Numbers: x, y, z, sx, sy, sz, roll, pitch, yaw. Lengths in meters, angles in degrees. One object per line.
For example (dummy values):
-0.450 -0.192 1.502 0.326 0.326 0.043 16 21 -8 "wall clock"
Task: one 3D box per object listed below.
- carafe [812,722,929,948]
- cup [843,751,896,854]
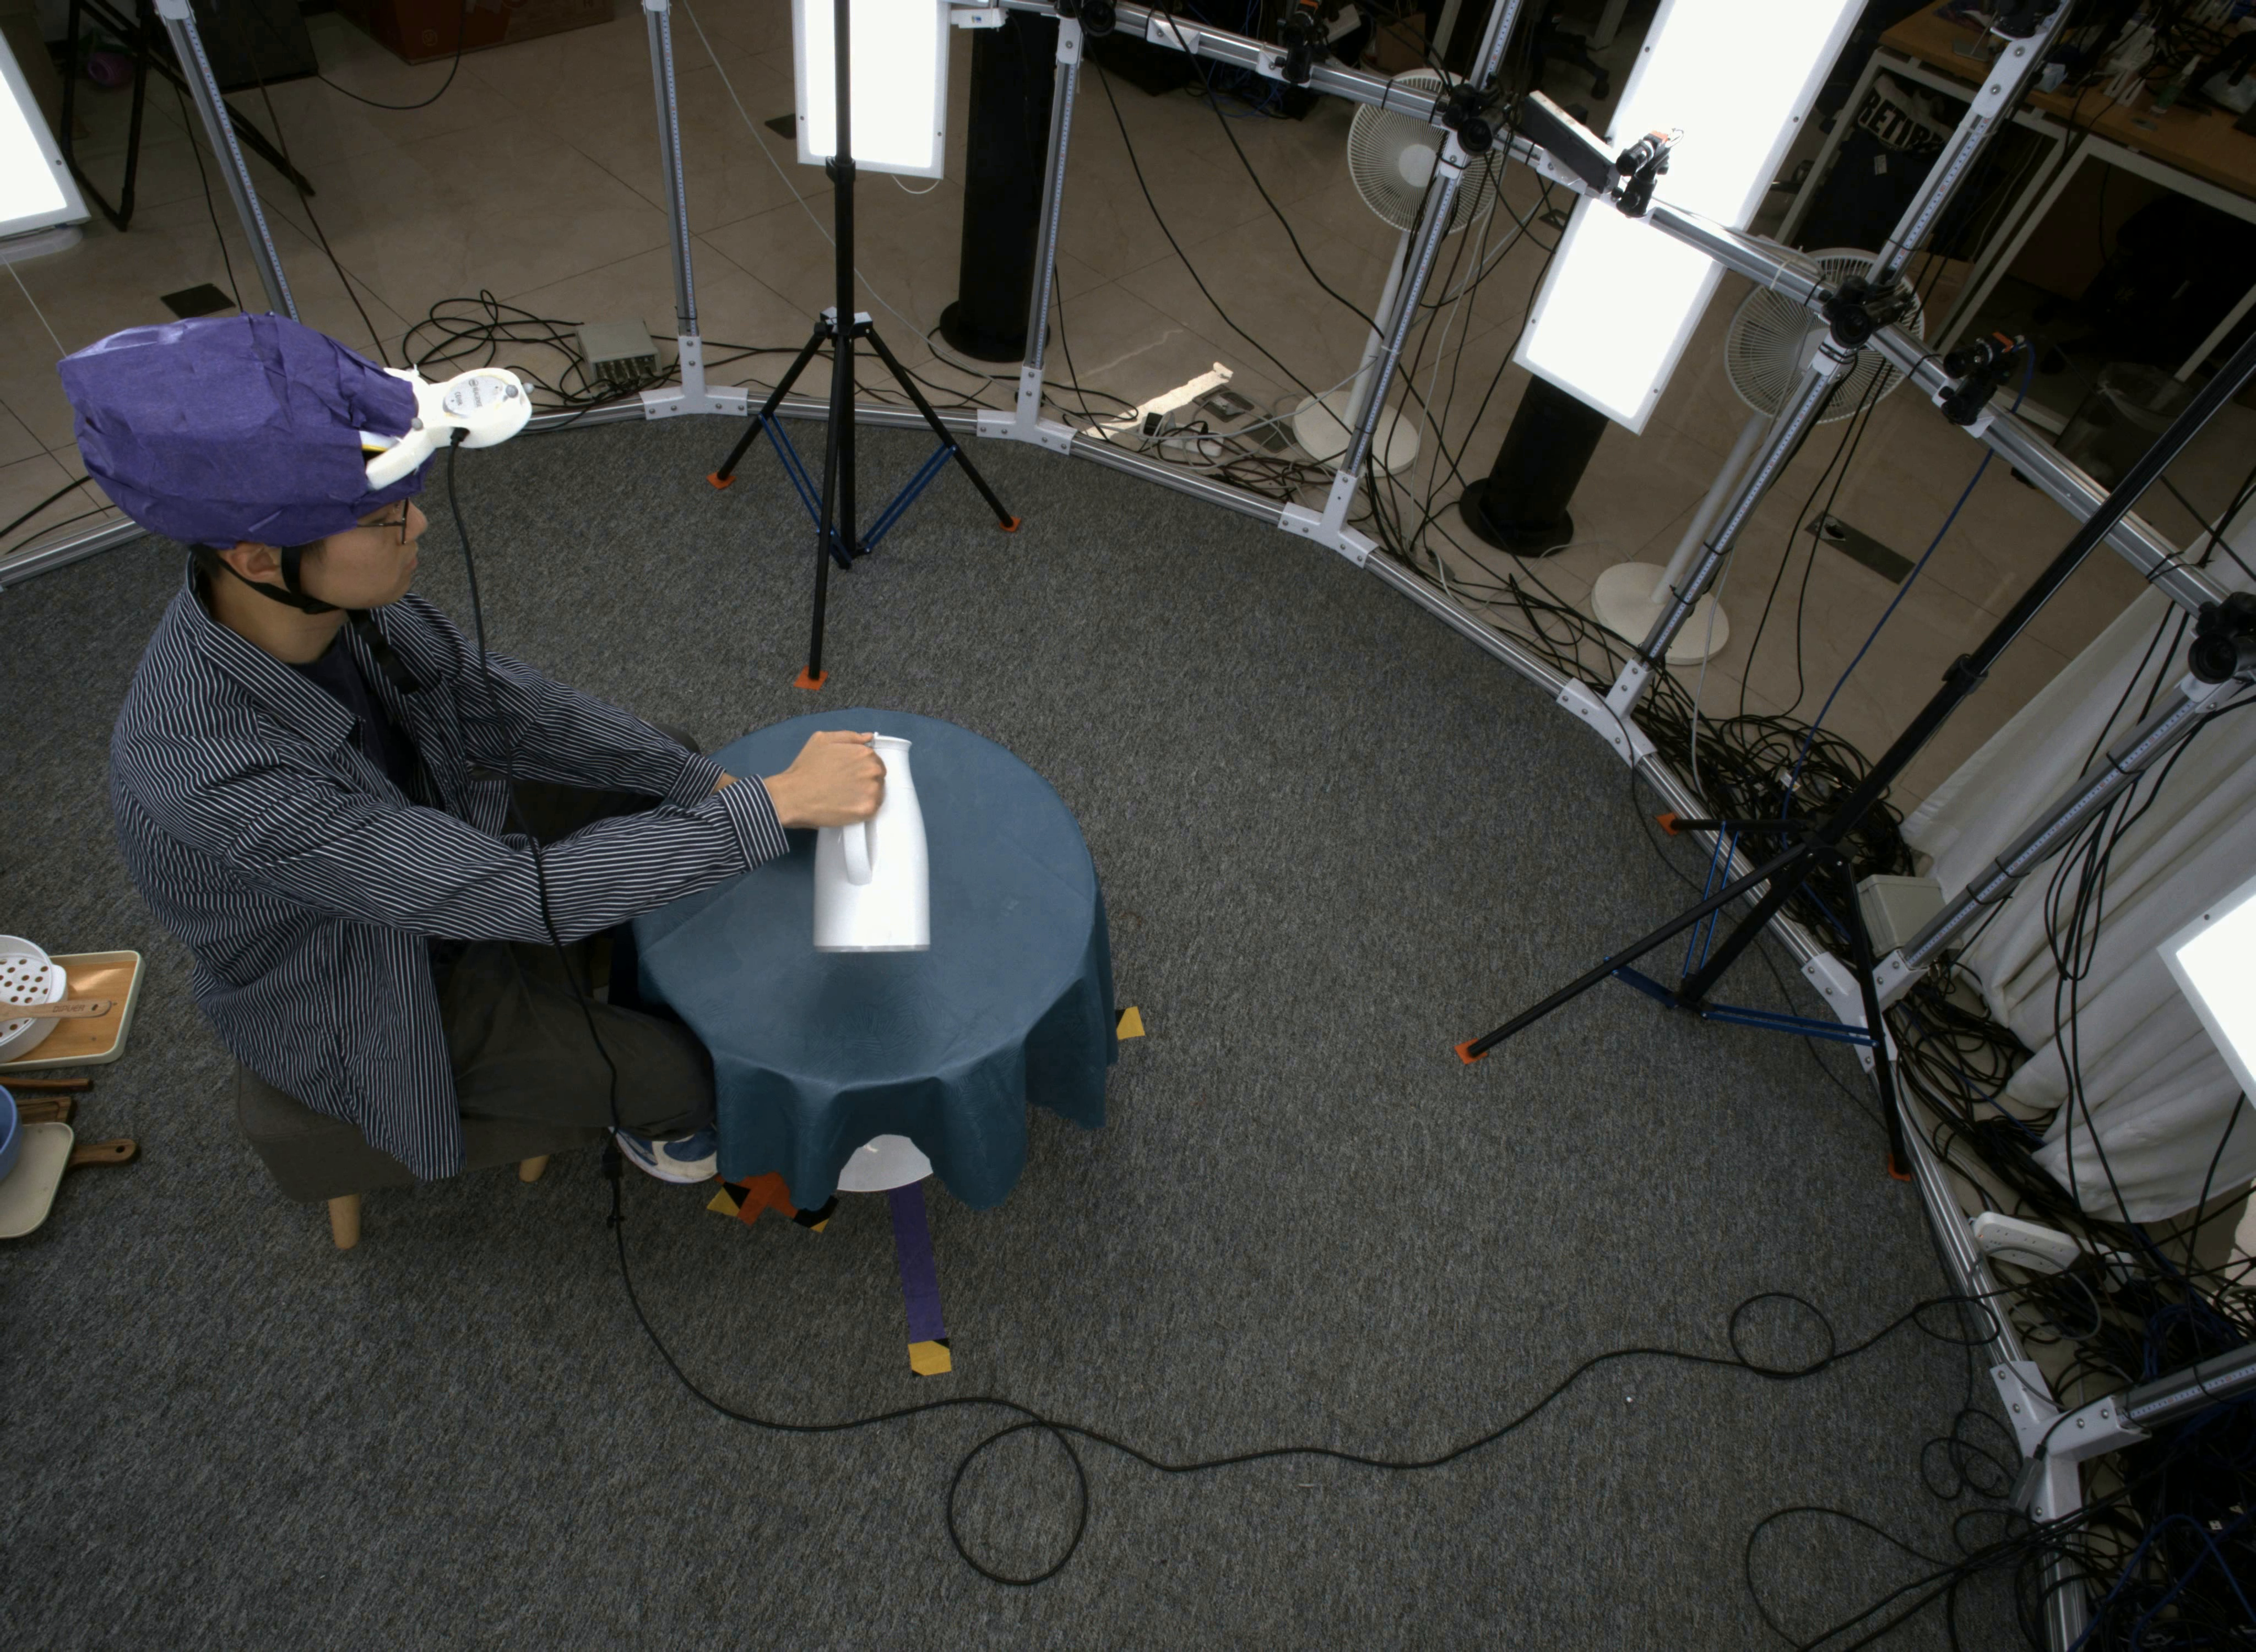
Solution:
-0.295 0.011 1.473 0.131 0.167 0.251 0 88 -3 "carafe"
-0.334 -0.029 1.665 0.066 0.135 0.065 8 52 -8 "cup"
